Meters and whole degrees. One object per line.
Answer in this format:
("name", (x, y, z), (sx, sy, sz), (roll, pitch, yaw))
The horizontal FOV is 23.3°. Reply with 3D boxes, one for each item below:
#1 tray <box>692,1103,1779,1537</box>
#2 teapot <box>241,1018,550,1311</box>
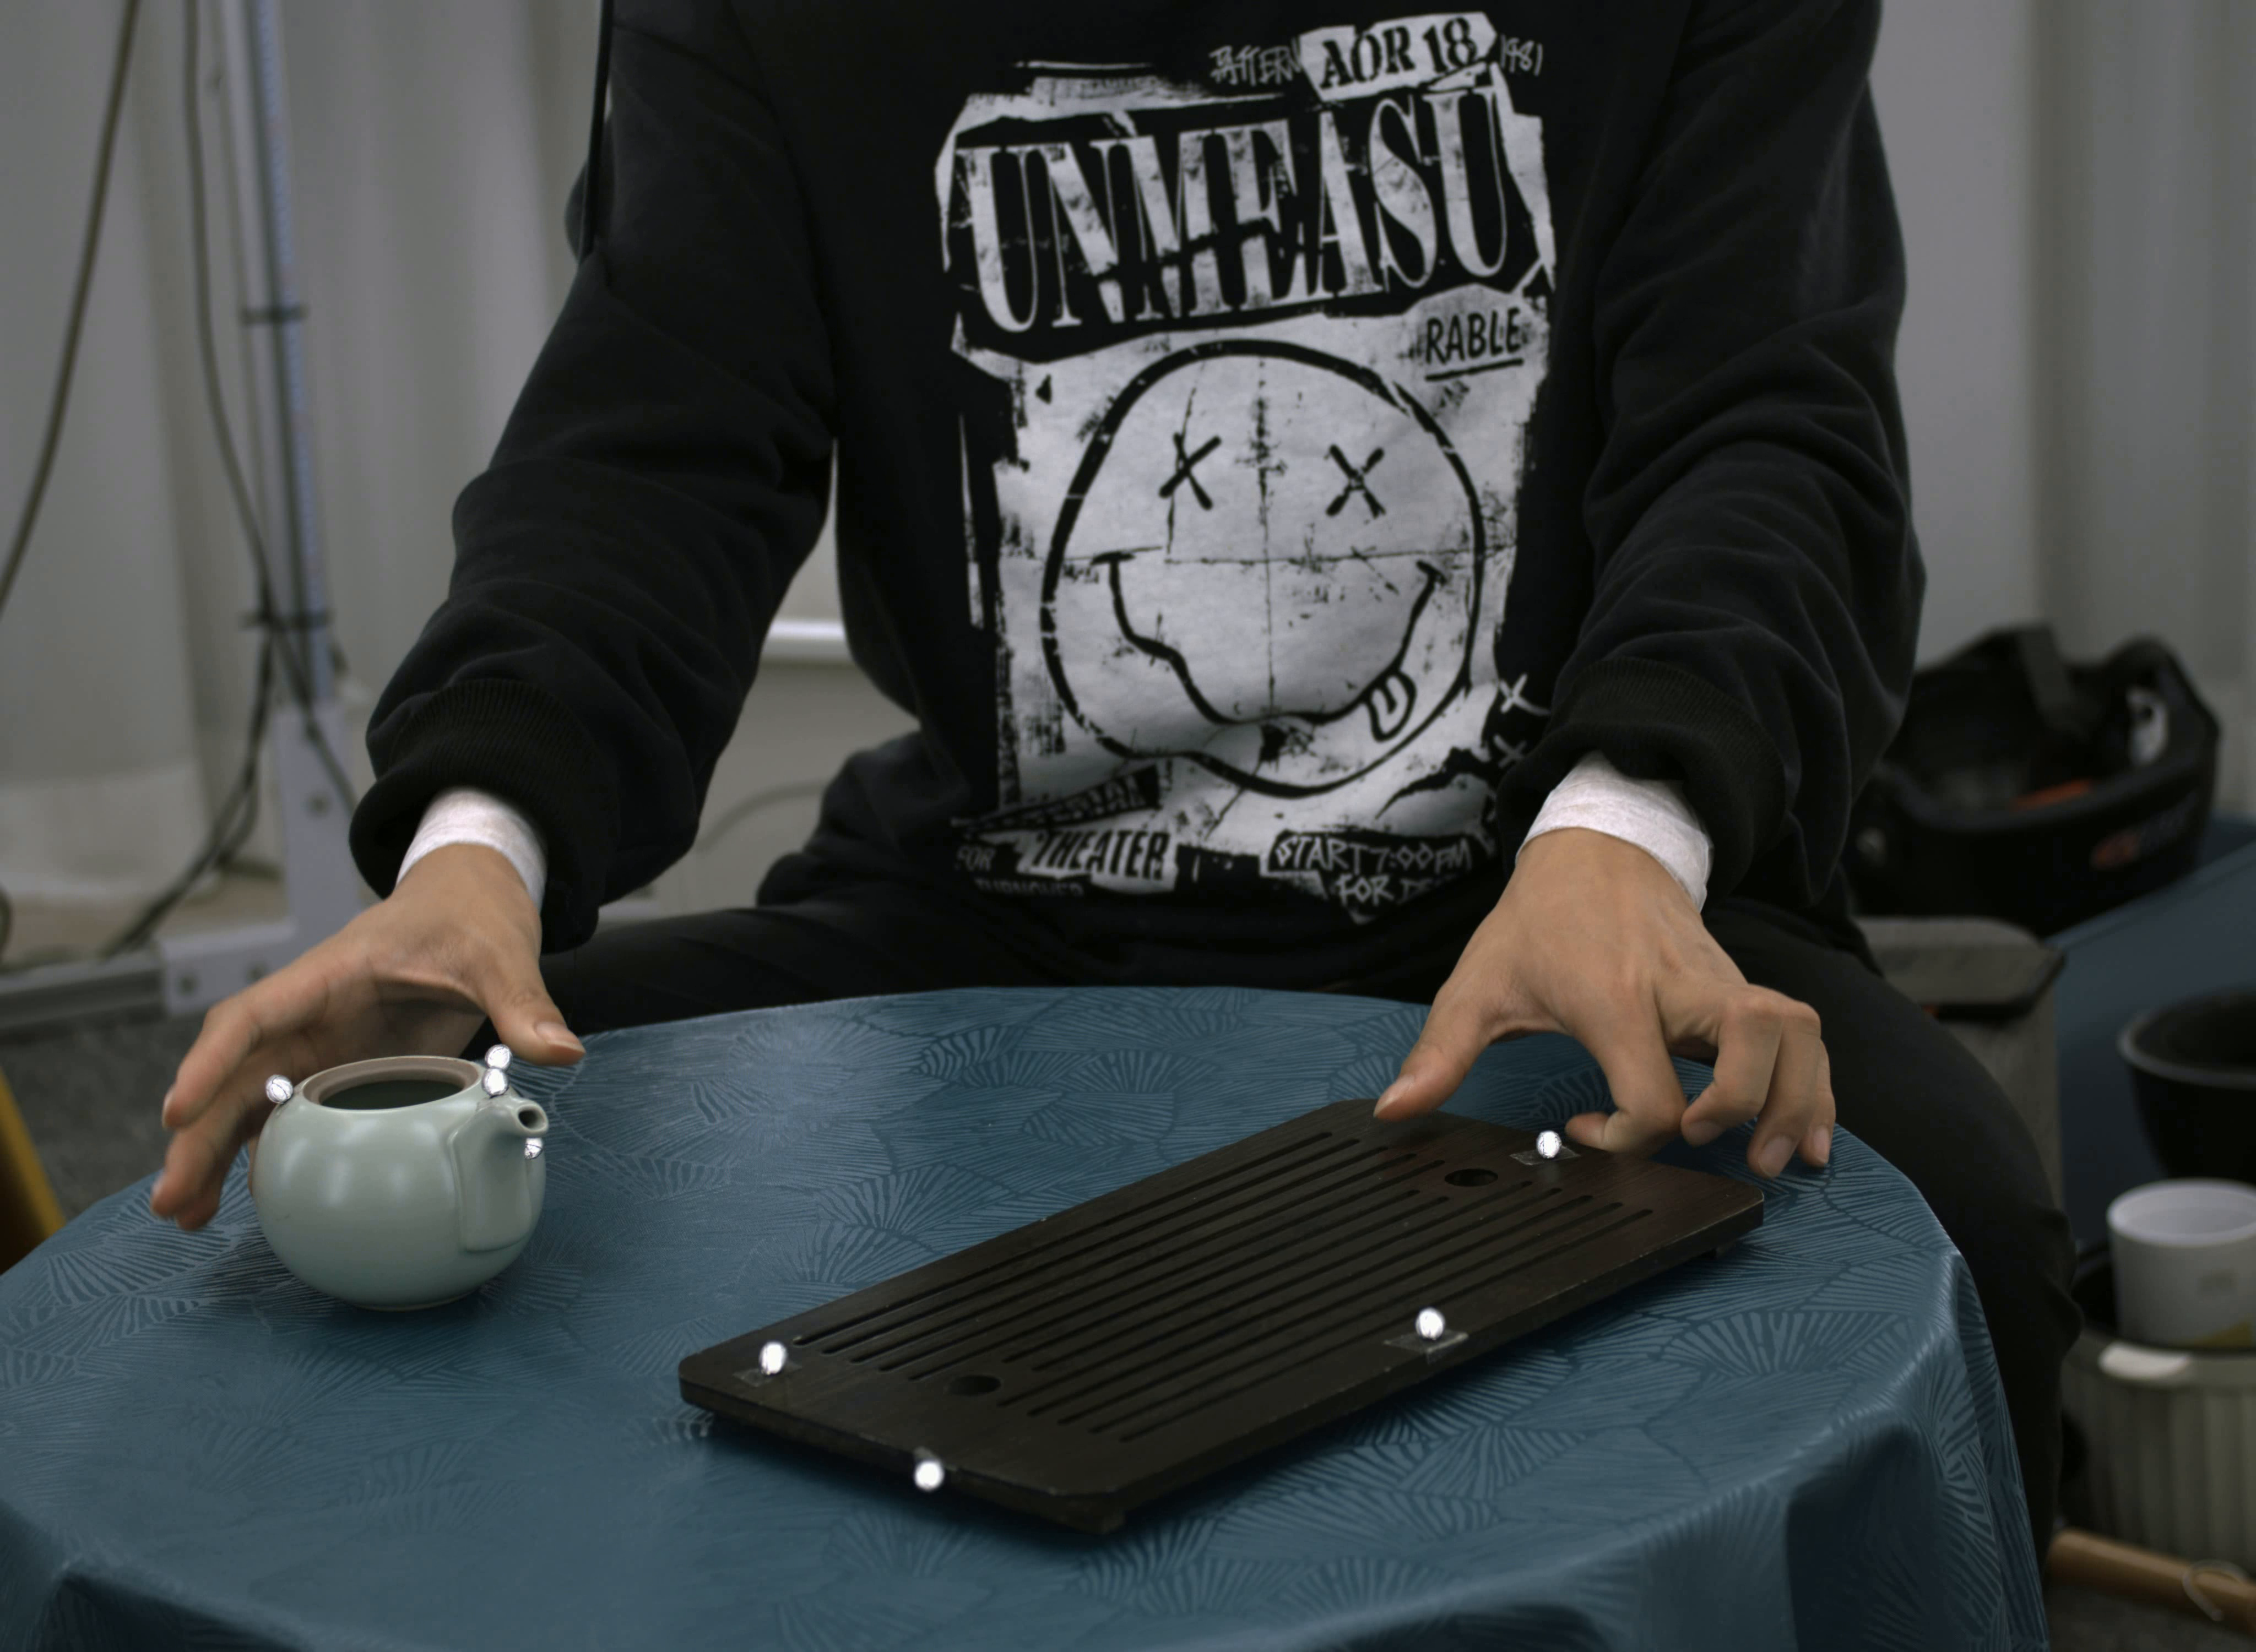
("tray", (0.036, 0.139, 1.581), (0.171, 0.018, 0.305), (11, 20, 42))
("teapot", (-0.219, 0.105, 1.651), (0.088, 0.074, 0.145), (-16, 21, -41))
